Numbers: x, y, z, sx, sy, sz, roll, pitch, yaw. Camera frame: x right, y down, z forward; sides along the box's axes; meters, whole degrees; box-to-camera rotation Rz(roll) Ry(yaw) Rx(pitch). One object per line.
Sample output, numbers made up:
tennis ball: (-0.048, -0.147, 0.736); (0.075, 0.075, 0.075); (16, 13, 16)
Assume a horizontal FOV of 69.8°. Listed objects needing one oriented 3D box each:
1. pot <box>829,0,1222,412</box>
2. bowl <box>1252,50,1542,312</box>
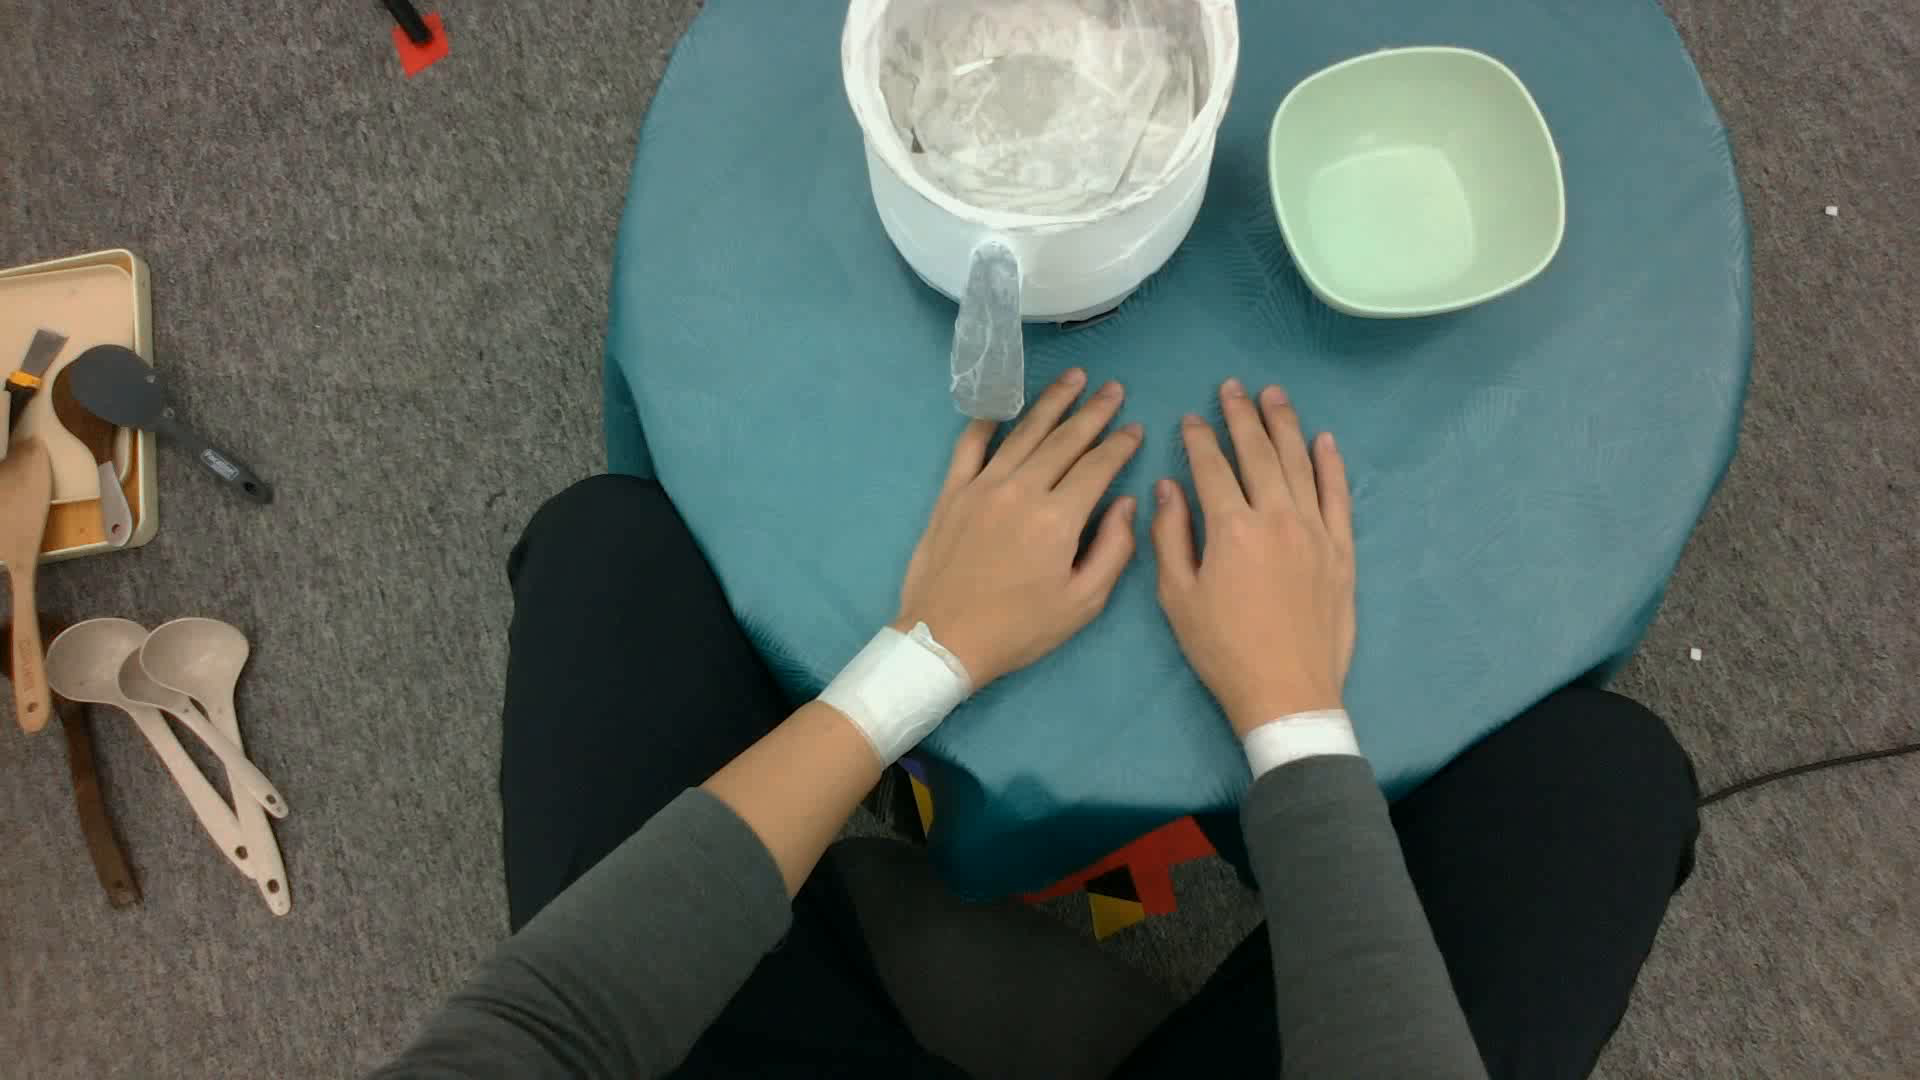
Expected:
pot: (0.027, -0.185, 0.677); (0.178, 0.136, 0.234); (10, 78, 4)
bowl: (0.217, -0.174, 0.708); (0.151, 0.058, 0.152); (0, 75, 2)
